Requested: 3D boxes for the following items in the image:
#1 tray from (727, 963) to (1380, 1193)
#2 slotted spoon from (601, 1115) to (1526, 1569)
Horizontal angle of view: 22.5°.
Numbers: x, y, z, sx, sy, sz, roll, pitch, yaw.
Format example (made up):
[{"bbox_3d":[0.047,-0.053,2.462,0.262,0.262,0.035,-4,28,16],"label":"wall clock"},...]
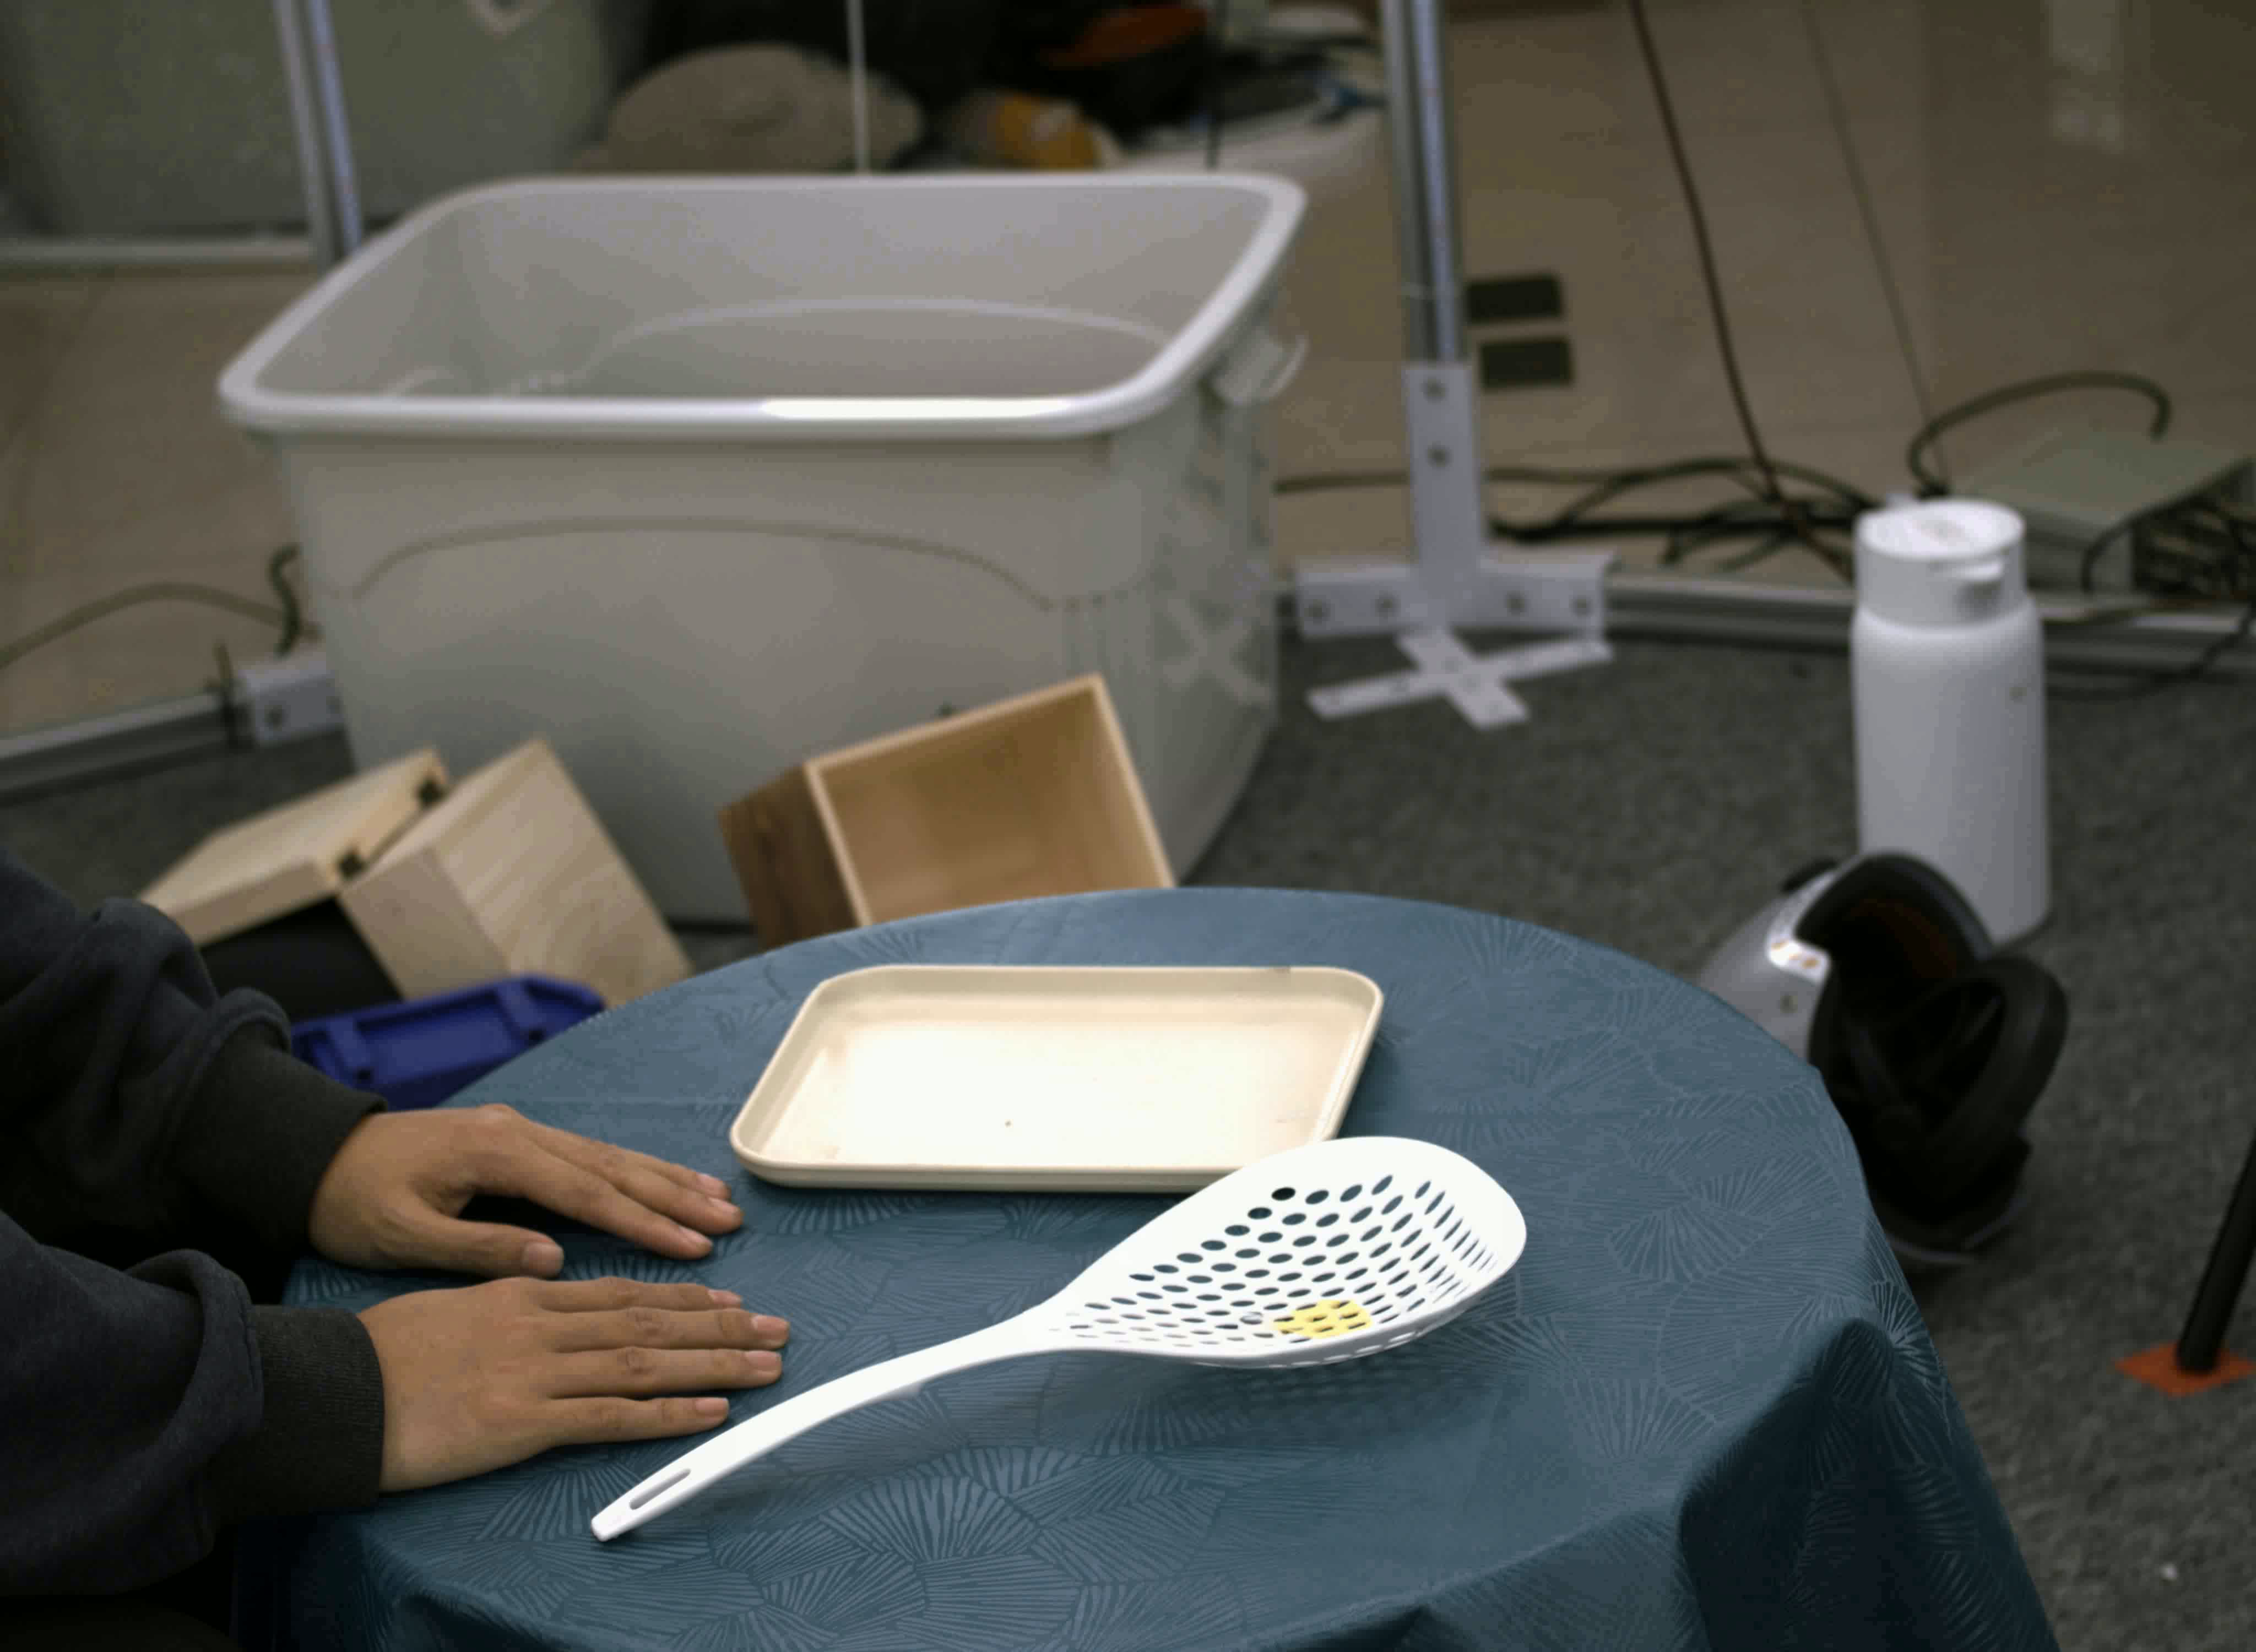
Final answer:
[{"bbox_3d":[-0.027,0.099,2.218,0.239,0.018,0.169,0,26,14],"label":"tray"},{"bbox_3d":[-0.025,0.187,2.002,0.346,0.051,0.135,-15,30,-16],"label":"slotted spoon"}]
